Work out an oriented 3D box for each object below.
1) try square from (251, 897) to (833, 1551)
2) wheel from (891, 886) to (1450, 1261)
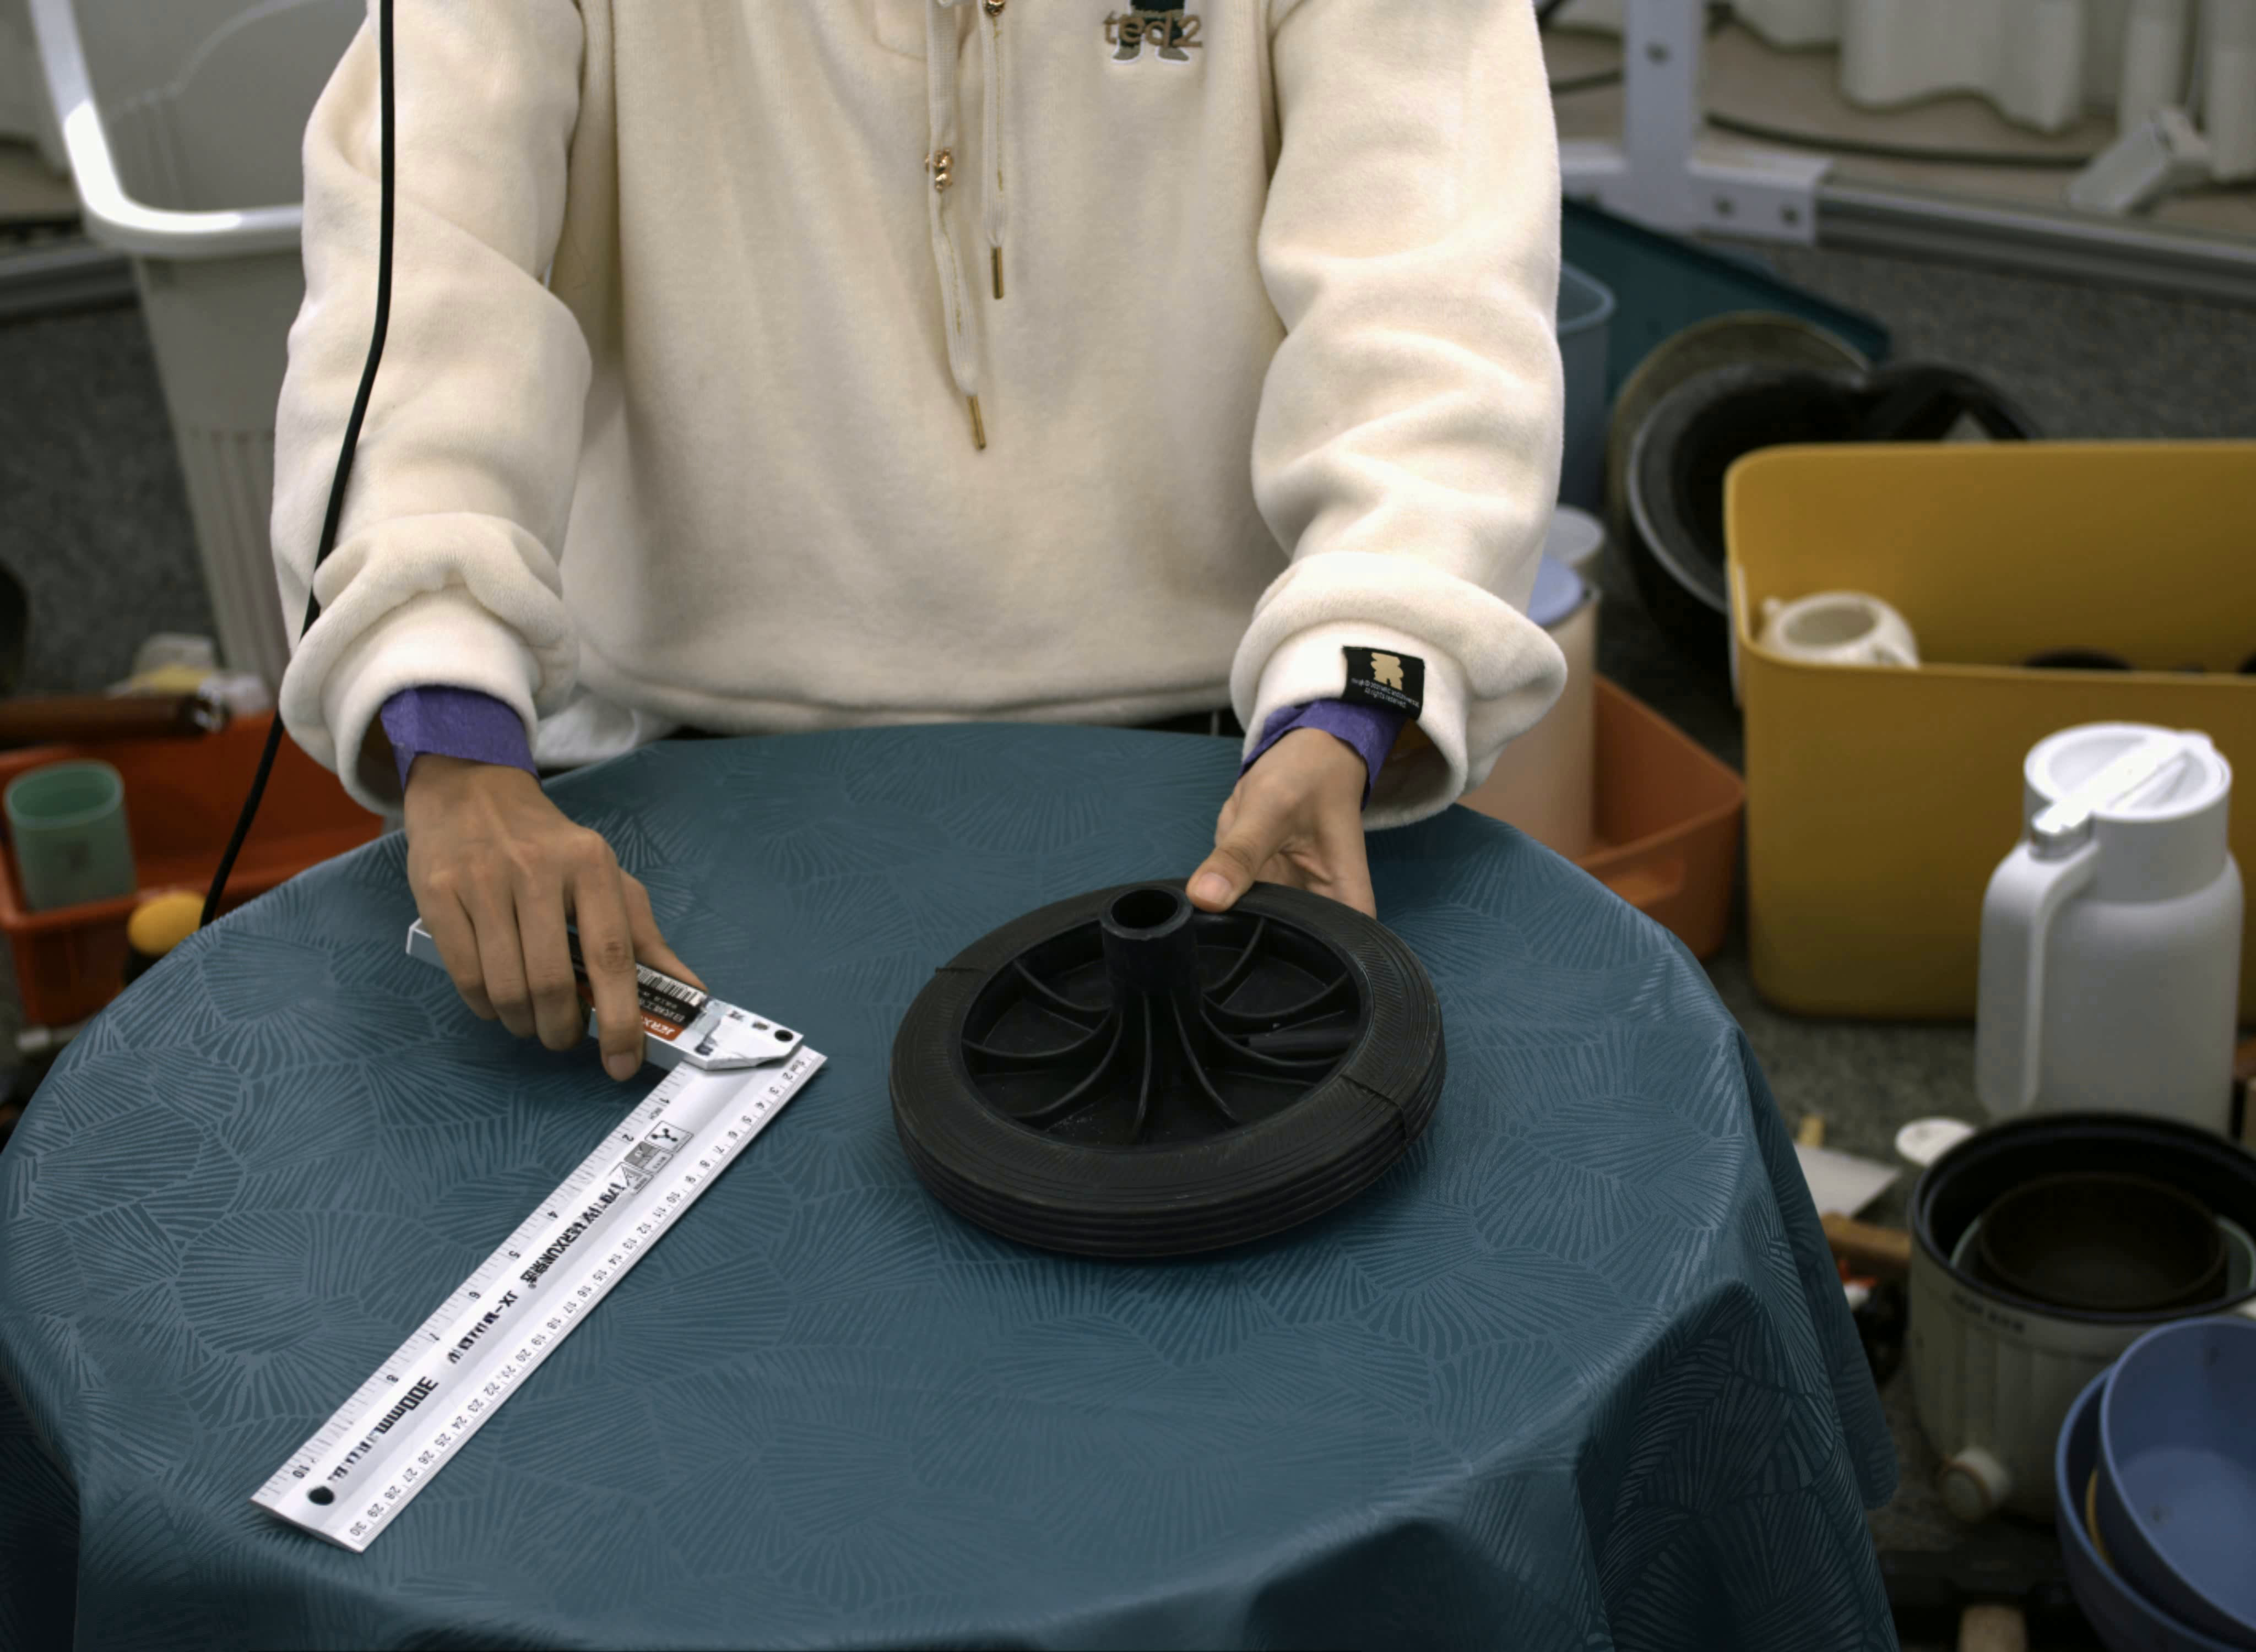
[{"bbox_3d":[-0.232,0.124,1.841,0.152,0.015,0.318,21,34,16],"label":"try square"},{"bbox_3d":[0.011,0.063,1.879,0.190,0.078,0.189,-17,34,-15],"label":"wheel"}]
